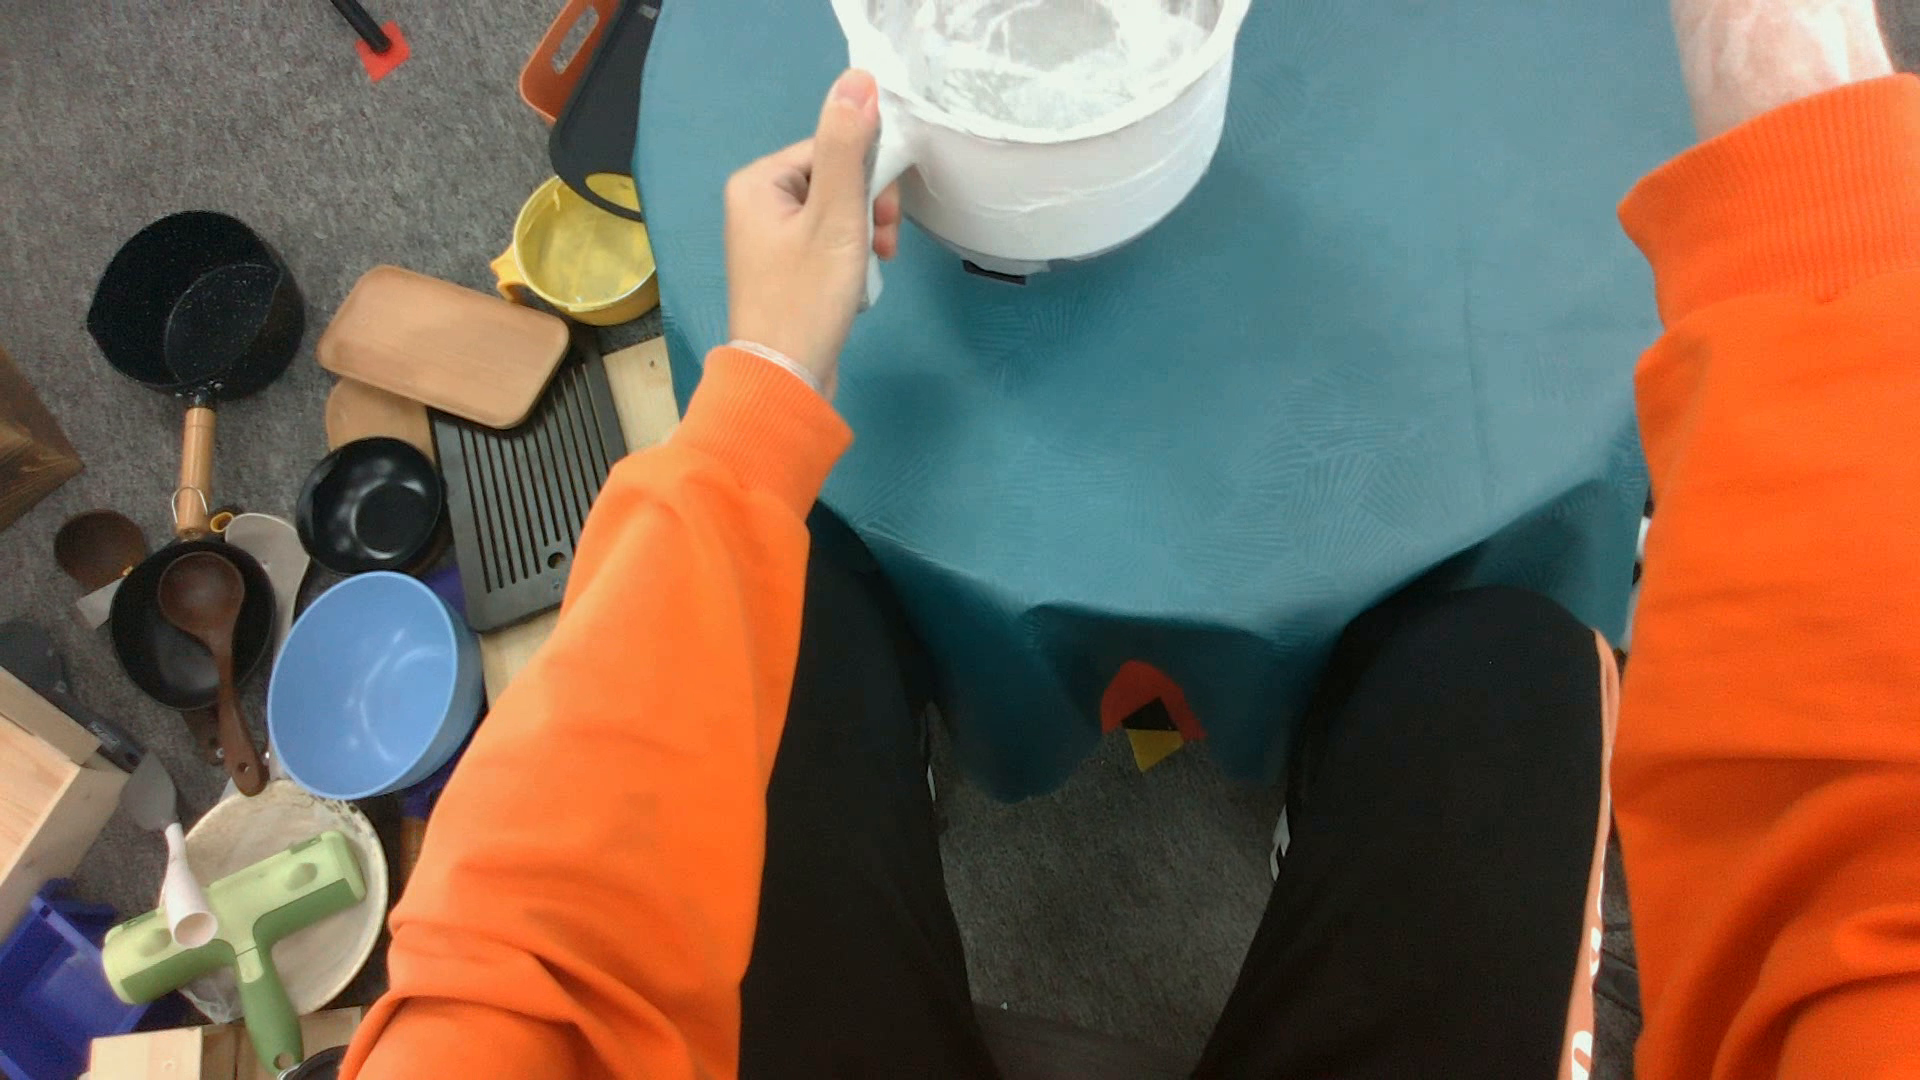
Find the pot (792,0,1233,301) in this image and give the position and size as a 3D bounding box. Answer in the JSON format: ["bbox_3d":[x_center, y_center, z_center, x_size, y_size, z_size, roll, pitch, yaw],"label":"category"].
[{"bbox_3d":[0.014,-0.210,0.628,0.179,0.136,0.234,42,79,13],"label":"pot"}]
